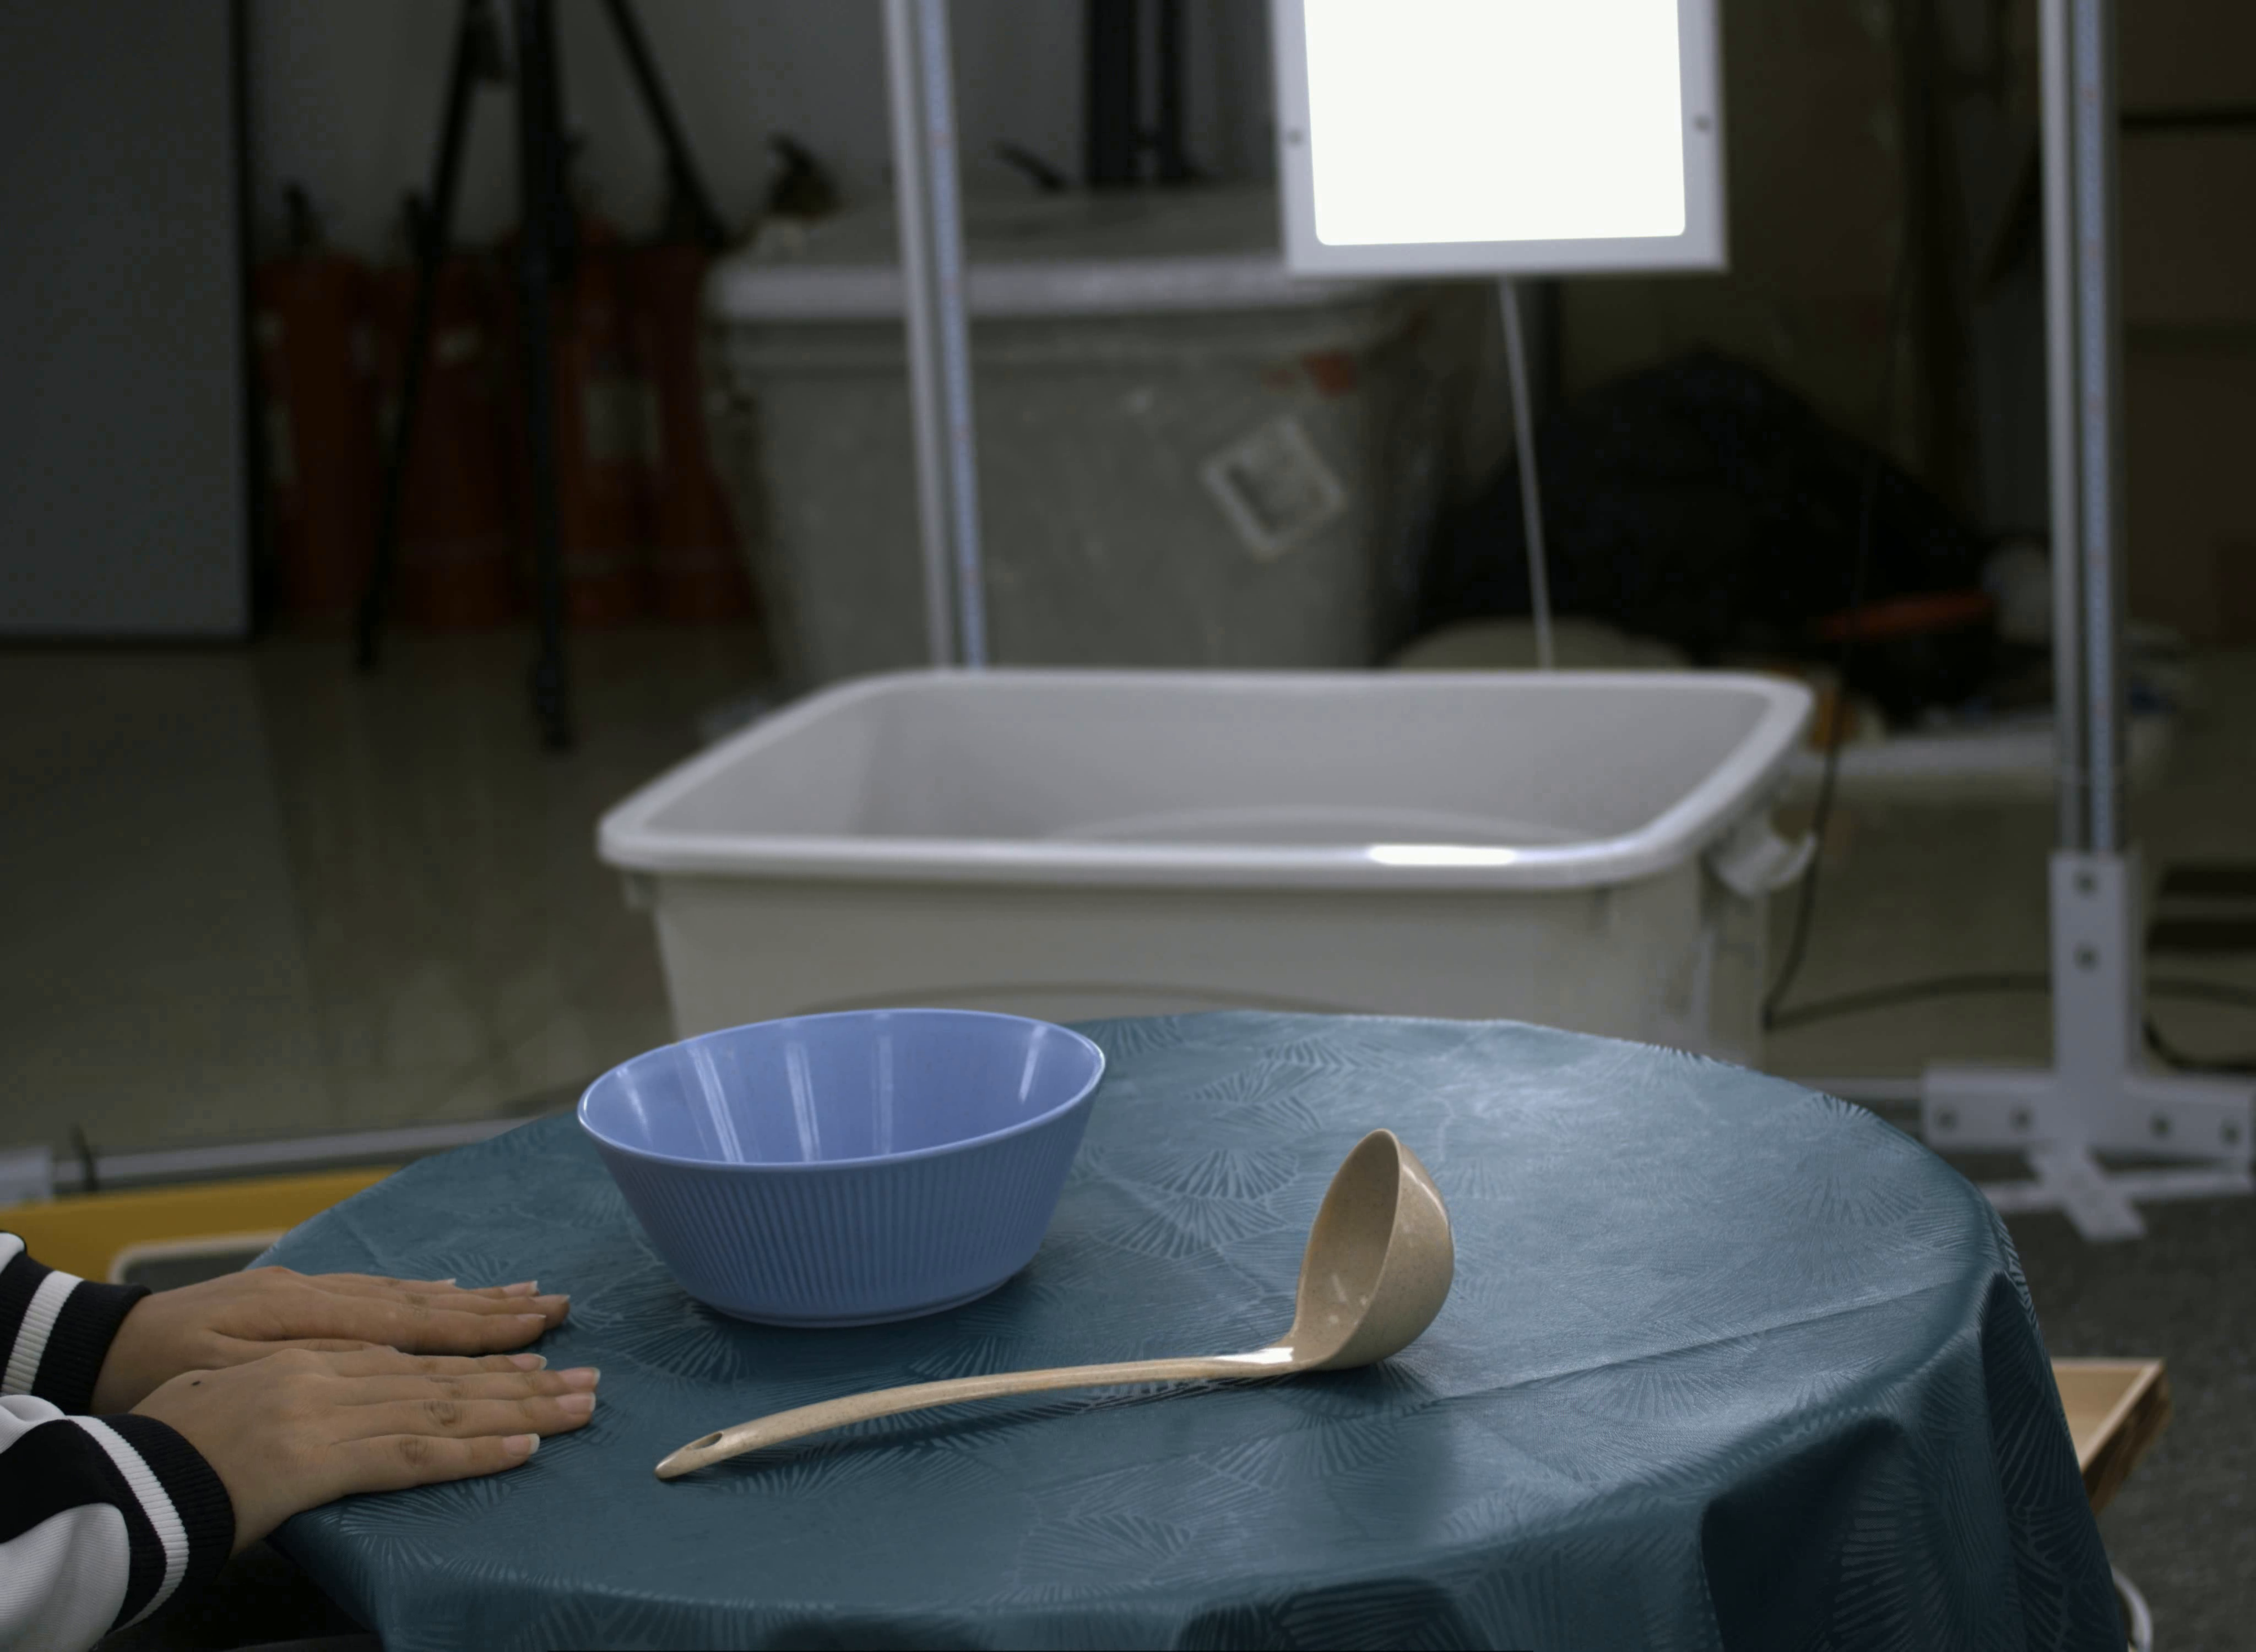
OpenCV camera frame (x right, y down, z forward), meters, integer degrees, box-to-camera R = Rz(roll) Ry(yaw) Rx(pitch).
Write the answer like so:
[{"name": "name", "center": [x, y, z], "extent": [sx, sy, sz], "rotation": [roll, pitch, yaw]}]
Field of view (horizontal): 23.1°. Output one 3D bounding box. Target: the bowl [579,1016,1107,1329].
[{"name": "bowl", "center": [-0.092, 0.117, 1.826], "extent": [0.175, 0.070, 0.176], "rotation": [-5, 12, 0]}]

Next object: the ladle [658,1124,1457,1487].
[{"name": "ladle", "center": [-0.024, 0.144, 1.680], "extent": [0.251, 0.073, 0.073], "rotation": [-8, 10, -14]}]
